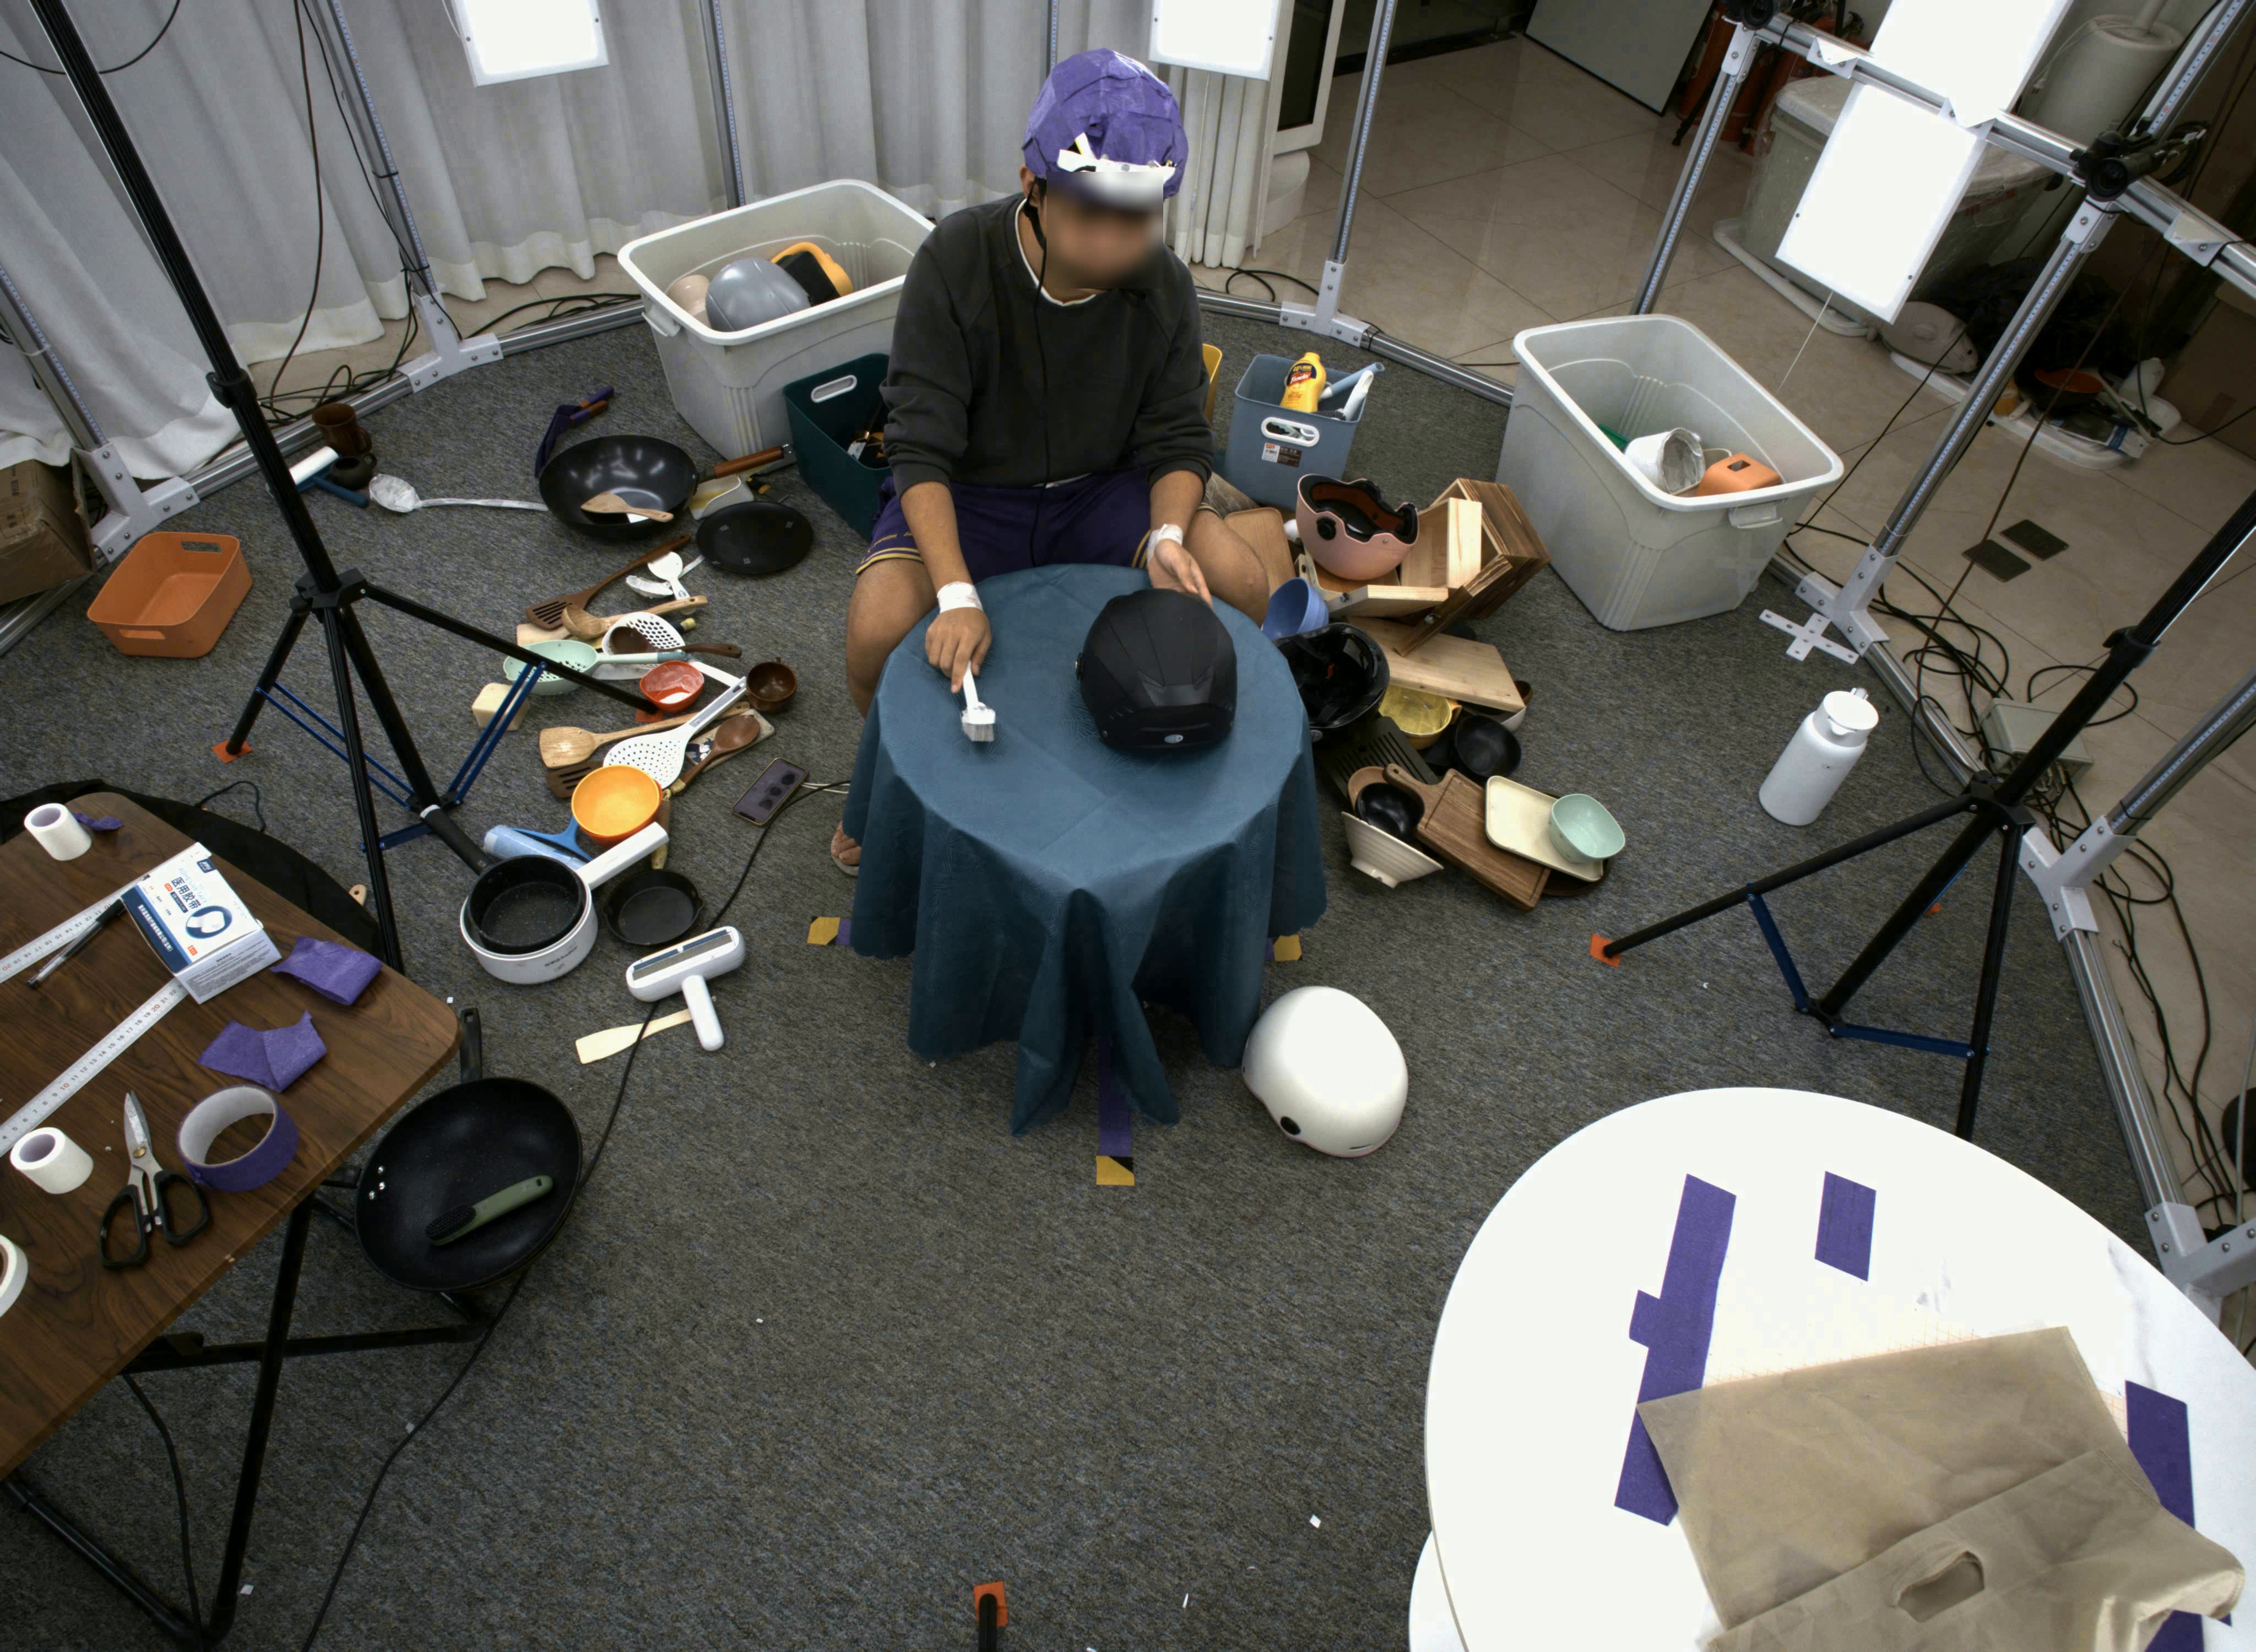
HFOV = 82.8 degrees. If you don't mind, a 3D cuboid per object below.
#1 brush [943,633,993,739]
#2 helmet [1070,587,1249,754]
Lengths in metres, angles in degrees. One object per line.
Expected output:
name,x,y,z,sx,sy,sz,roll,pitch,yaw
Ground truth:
brush,-0.228,-0.195,1.802,0.034,0.049,0.249,-4,37,-17
helmet,0.049,-0.234,1.770,0.246,0.168,0.283,-3,52,-7
